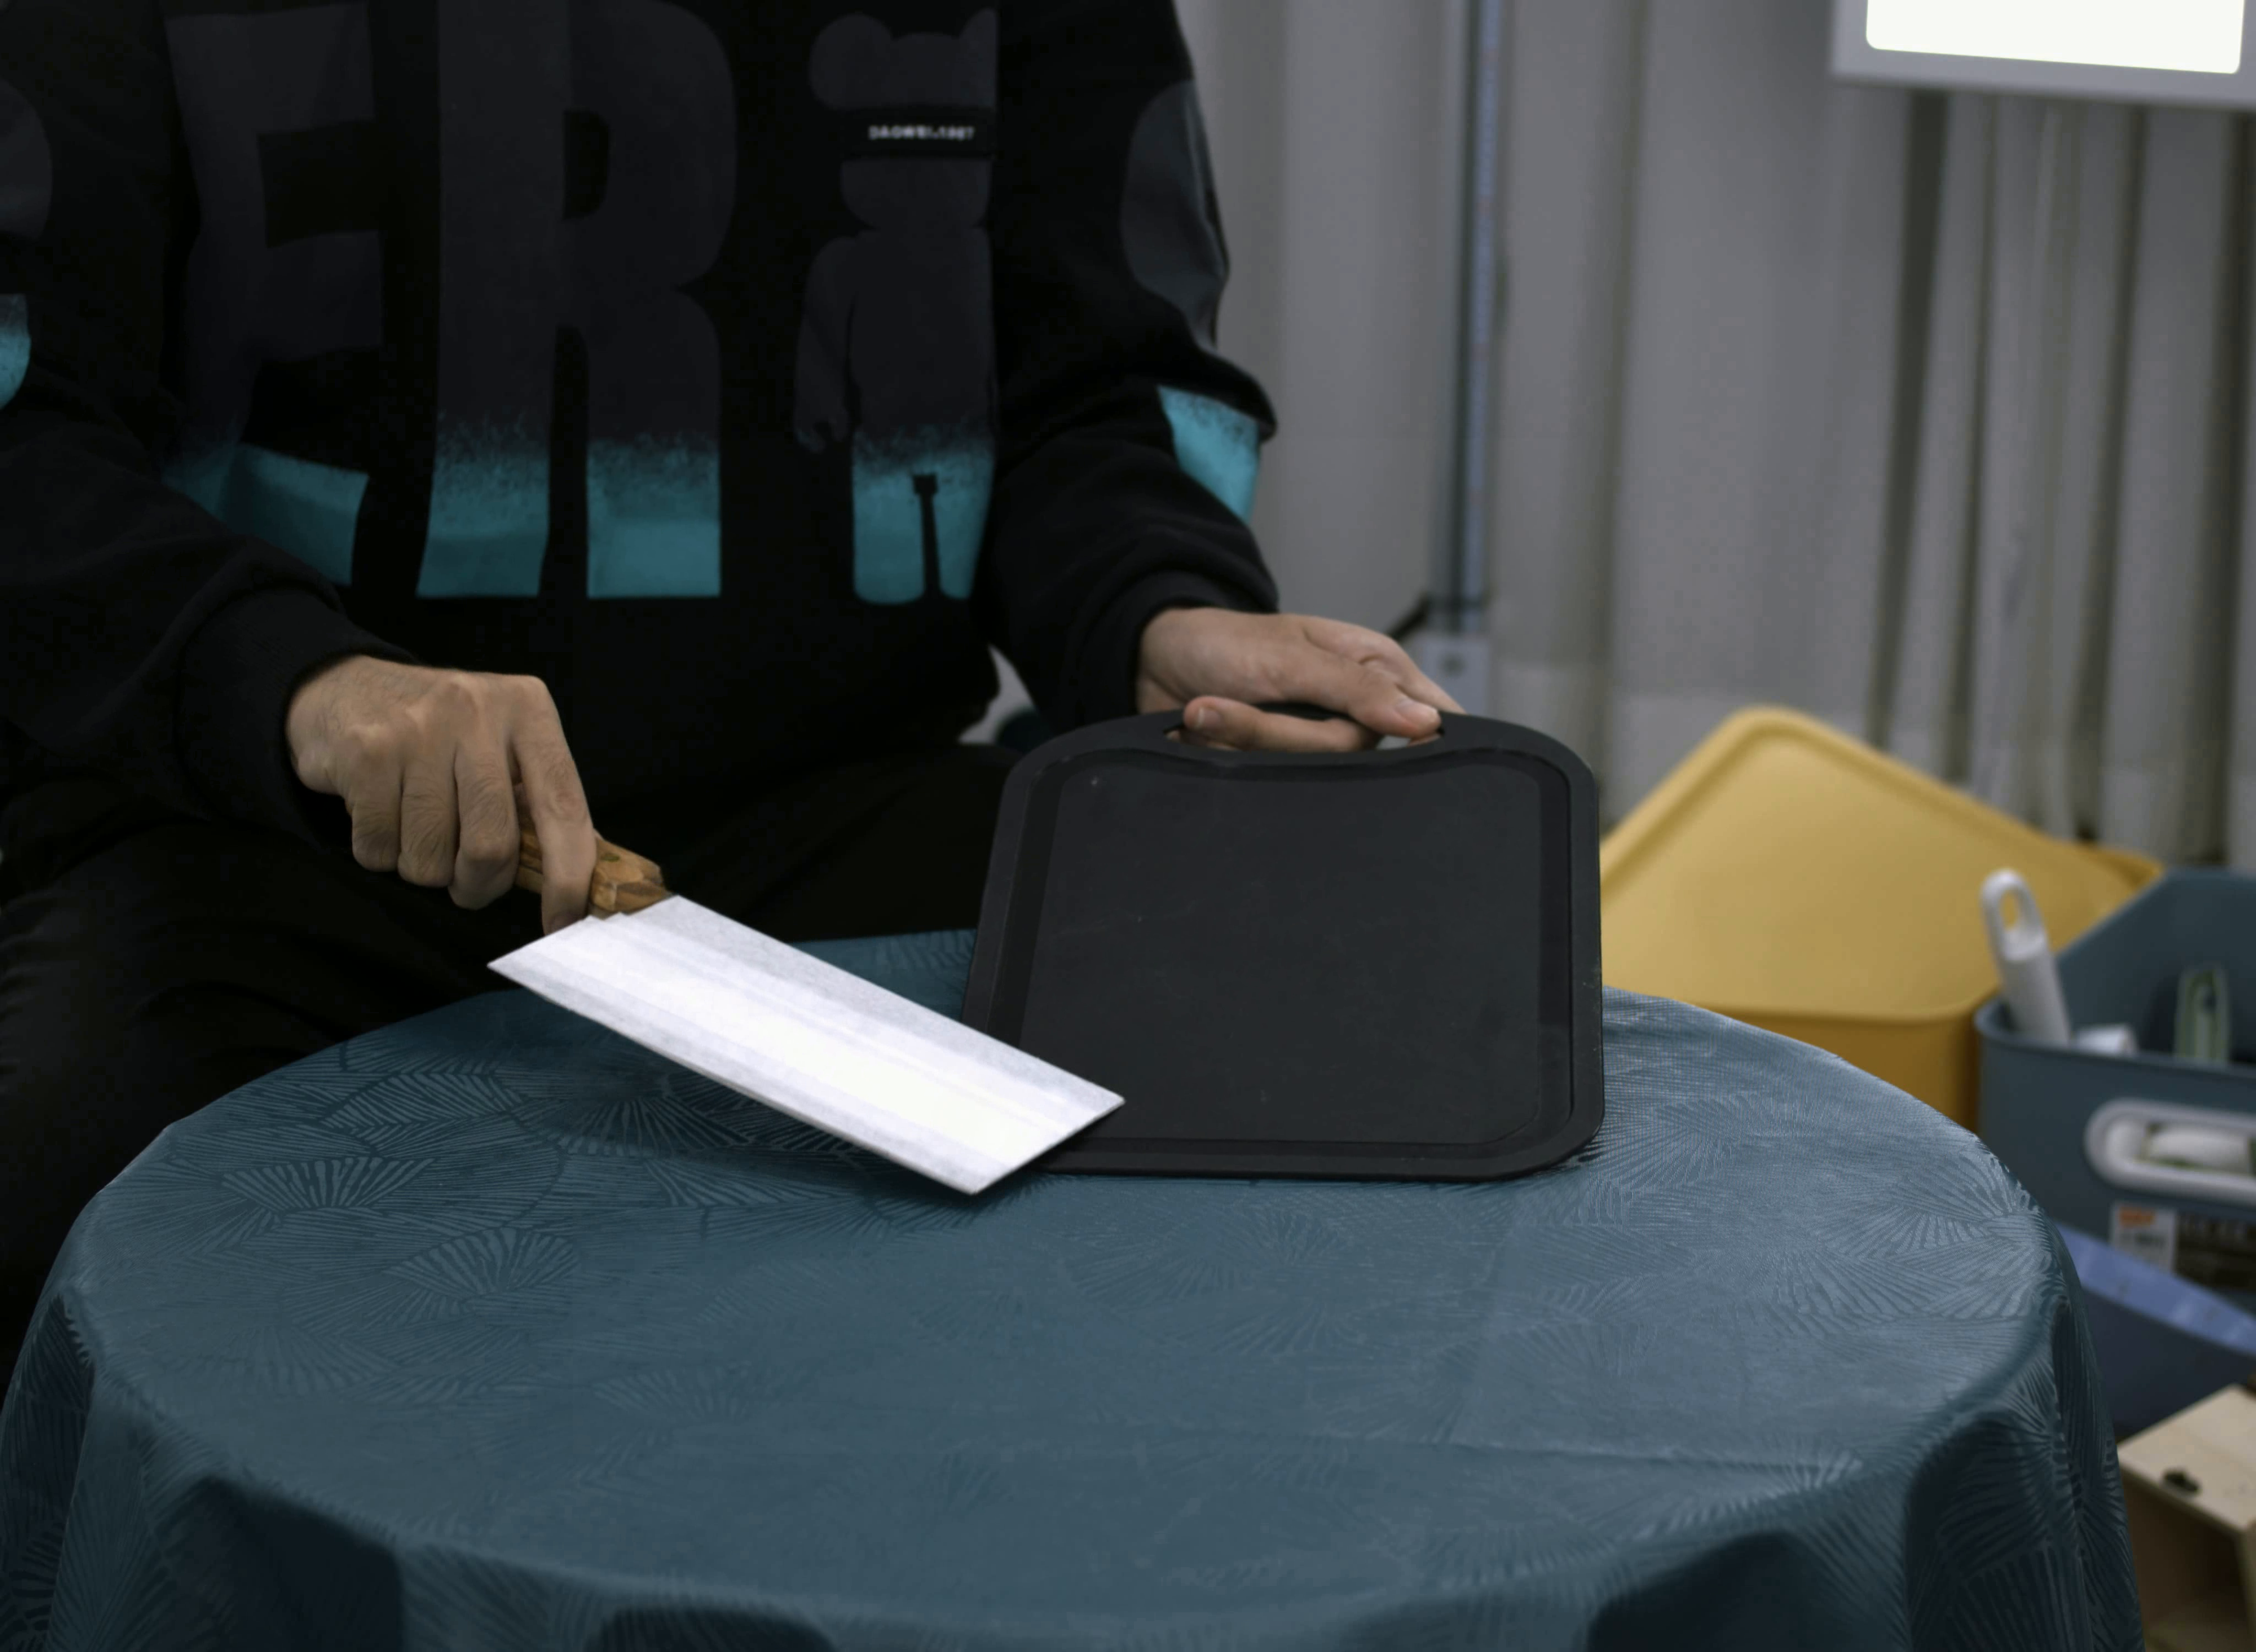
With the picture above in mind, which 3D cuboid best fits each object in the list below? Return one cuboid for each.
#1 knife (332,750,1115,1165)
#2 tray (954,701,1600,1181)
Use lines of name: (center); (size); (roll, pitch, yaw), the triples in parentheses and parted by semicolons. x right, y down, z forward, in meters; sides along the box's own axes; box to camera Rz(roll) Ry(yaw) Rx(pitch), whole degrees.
knife: (-0.148, 0.044, 1.699); (0.302, 0.021, 0.093); (23, 27, 24)
tray: (0.054, 0.031, 1.774); (0.210, 0.010, 0.323); (1, 29, 4)
